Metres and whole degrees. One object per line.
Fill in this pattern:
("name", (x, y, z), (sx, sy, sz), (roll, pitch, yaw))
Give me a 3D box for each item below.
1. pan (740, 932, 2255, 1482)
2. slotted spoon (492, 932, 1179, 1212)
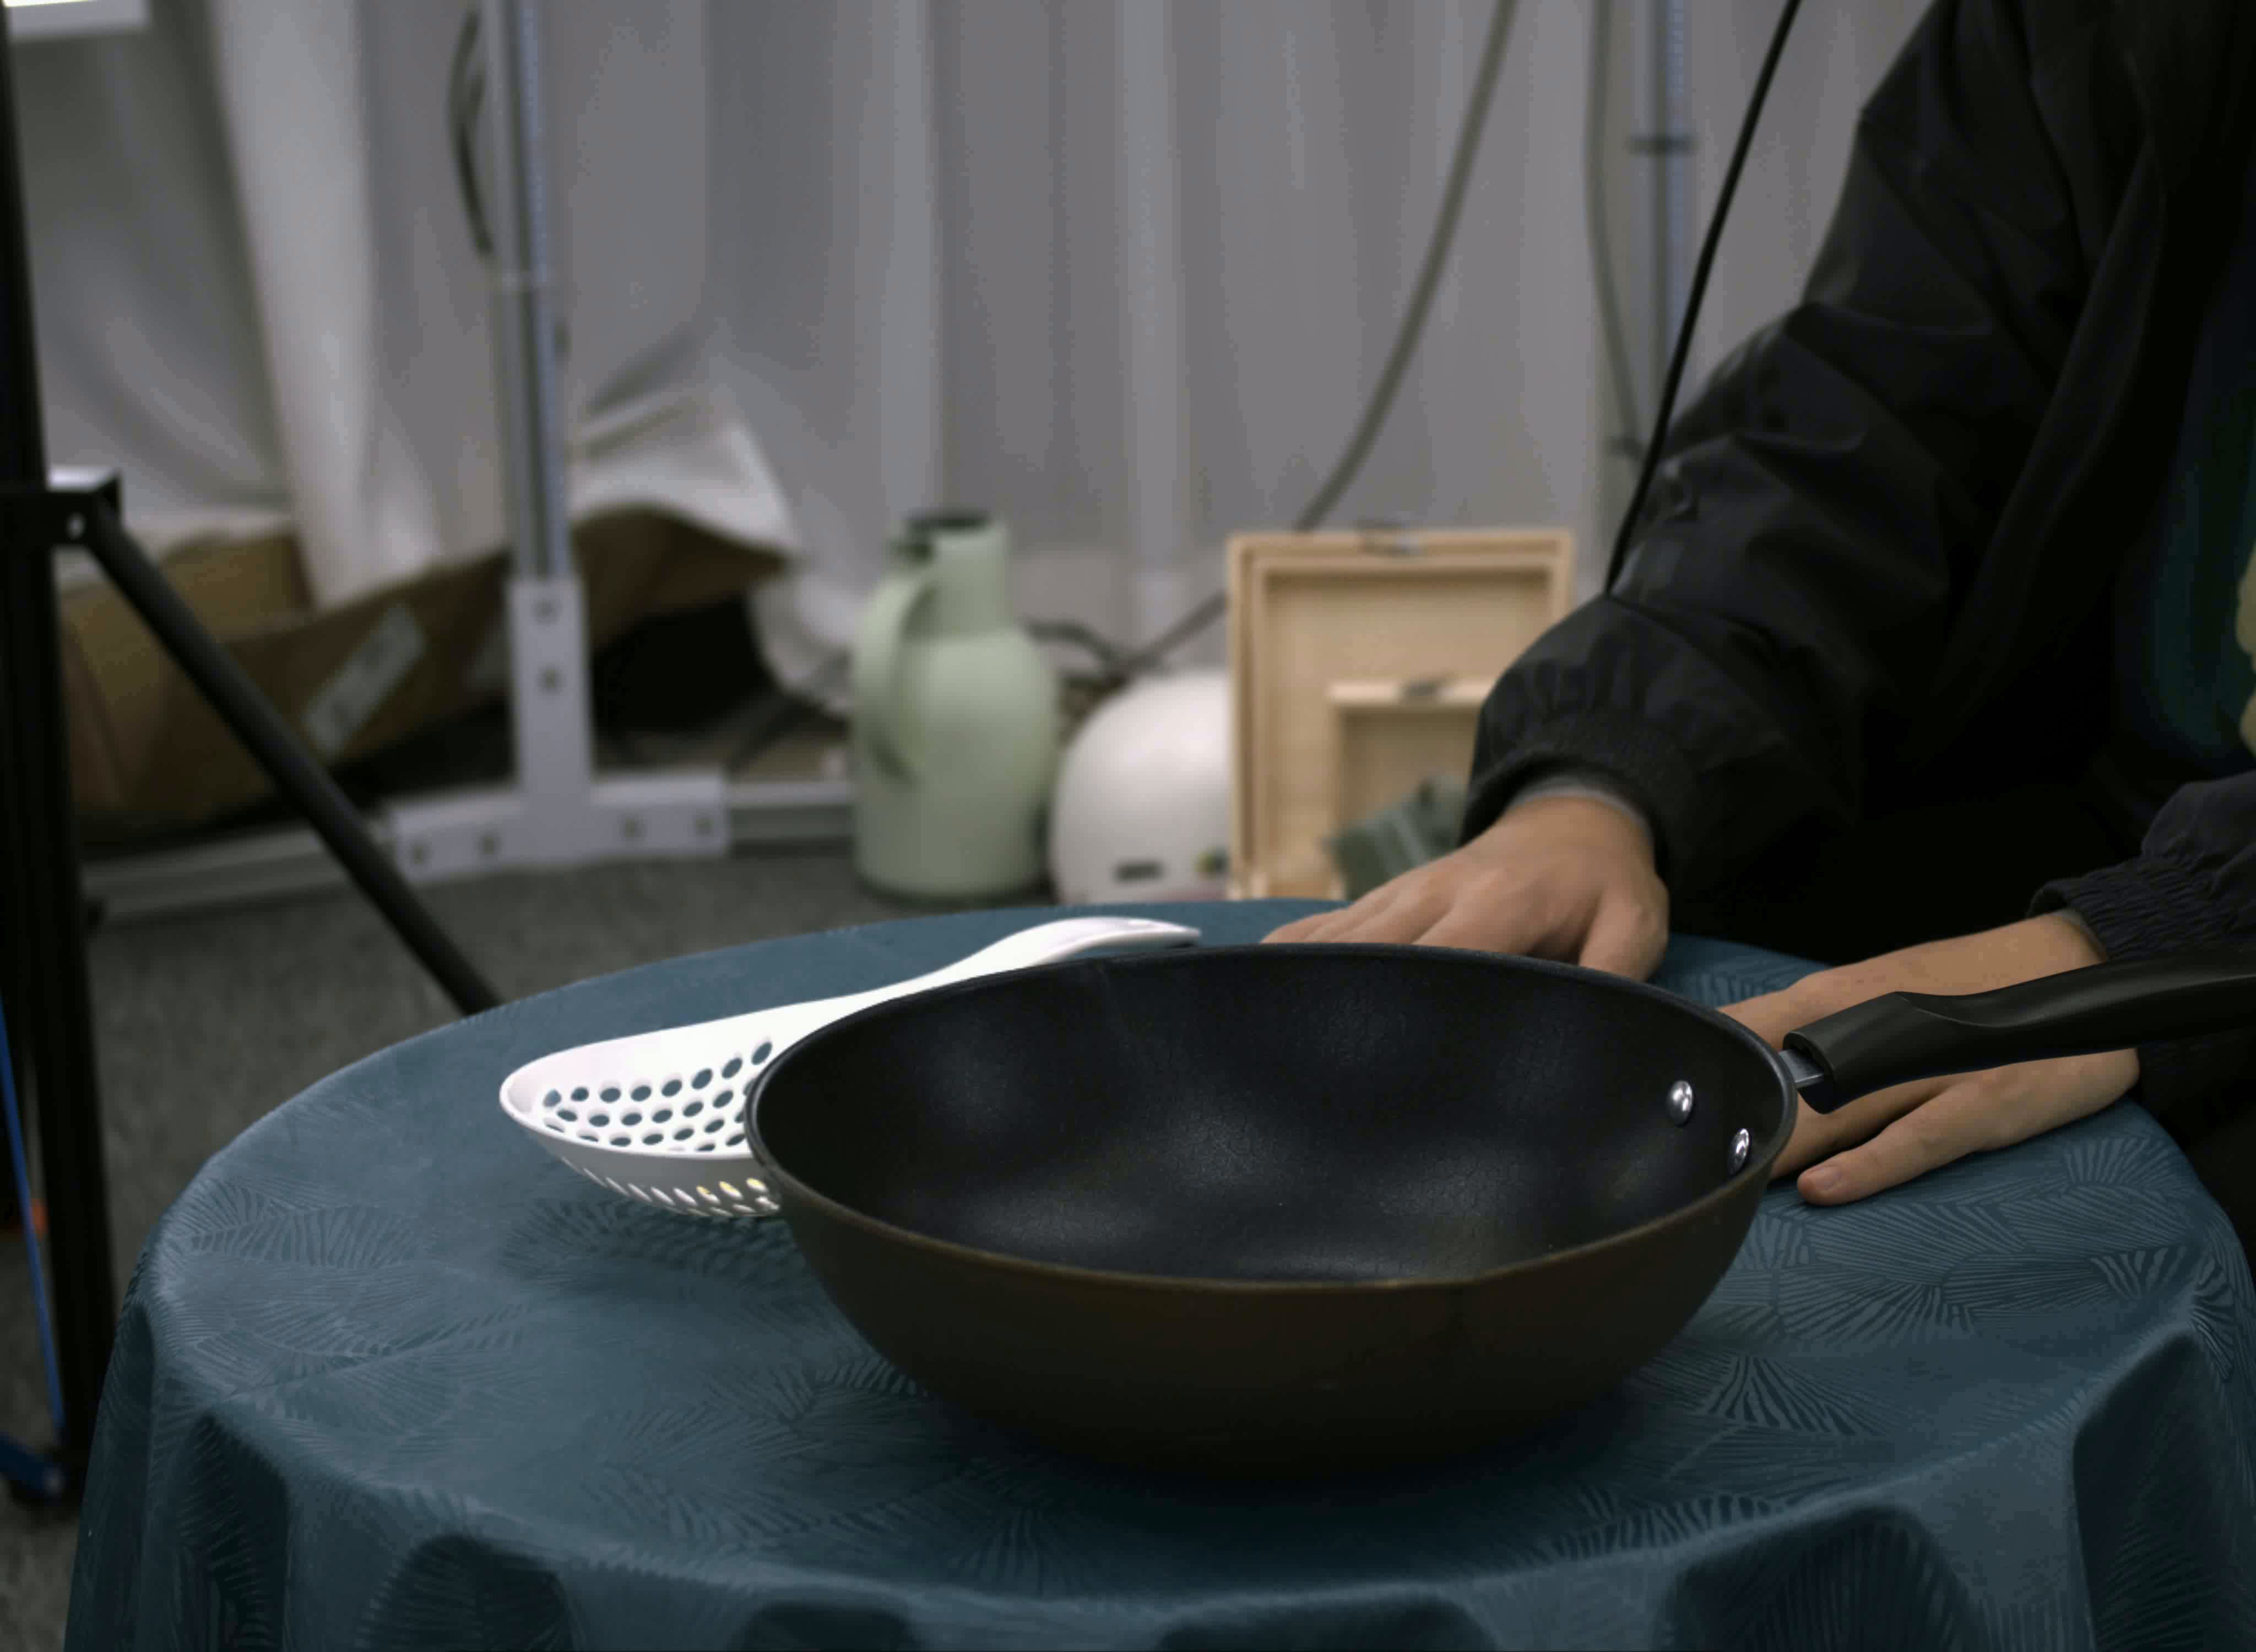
("pan", (0.124, 0.097, 1.426), (0.456, 0.087, 0.293), (-6, 16, -15))
("slotted spoon", (-0.062, 0.064, 1.651), (0.139, 0.050, 0.342), (4, 17, 29))
